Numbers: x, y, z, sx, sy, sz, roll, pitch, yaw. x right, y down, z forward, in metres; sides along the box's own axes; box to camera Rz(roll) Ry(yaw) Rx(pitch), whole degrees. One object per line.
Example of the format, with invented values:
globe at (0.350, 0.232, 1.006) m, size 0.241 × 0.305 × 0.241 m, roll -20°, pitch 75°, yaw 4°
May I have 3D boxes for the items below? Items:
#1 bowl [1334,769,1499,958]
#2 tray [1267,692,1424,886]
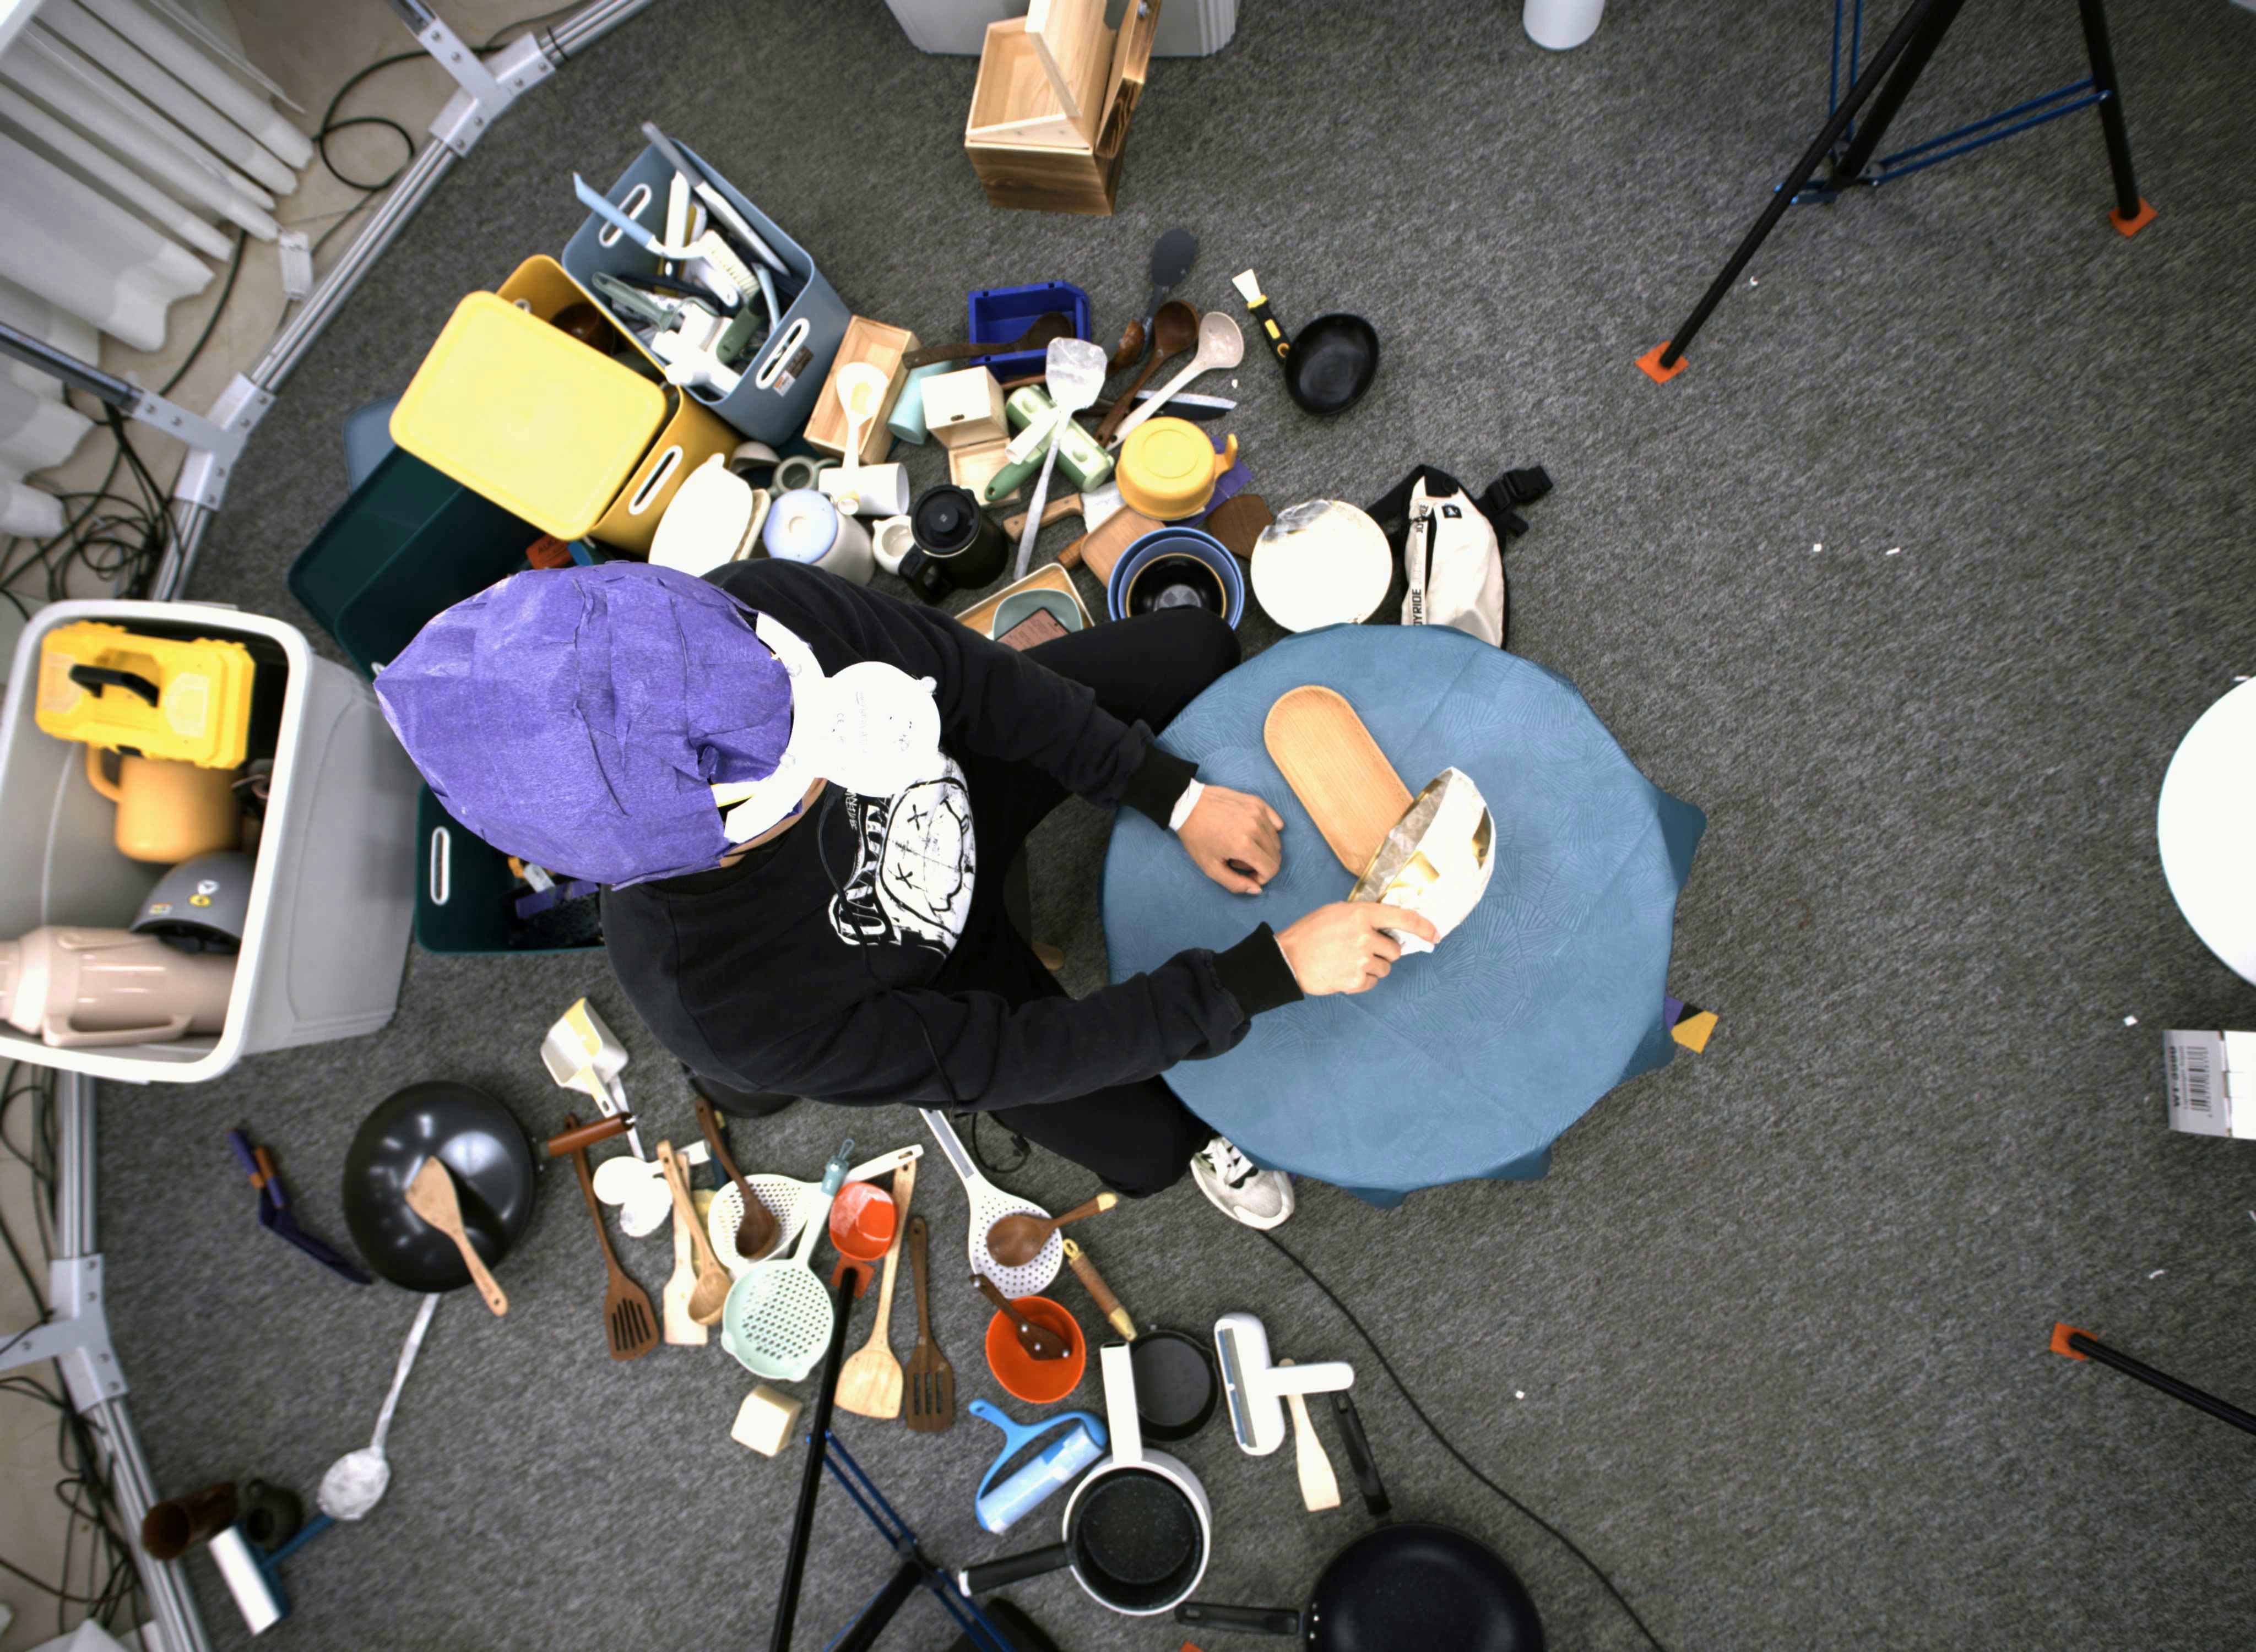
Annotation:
bowl at (0.298, 0.053, 1.355) m, size 0.094 × 0.214 × 0.215 m, roll 34°, pitch 91°, yaw 0°
tray at (0.237, -0.041, 1.471) m, size 0.102 × 0.020 × 0.230 m, roll -35°, pitch 82°, yaw 8°
